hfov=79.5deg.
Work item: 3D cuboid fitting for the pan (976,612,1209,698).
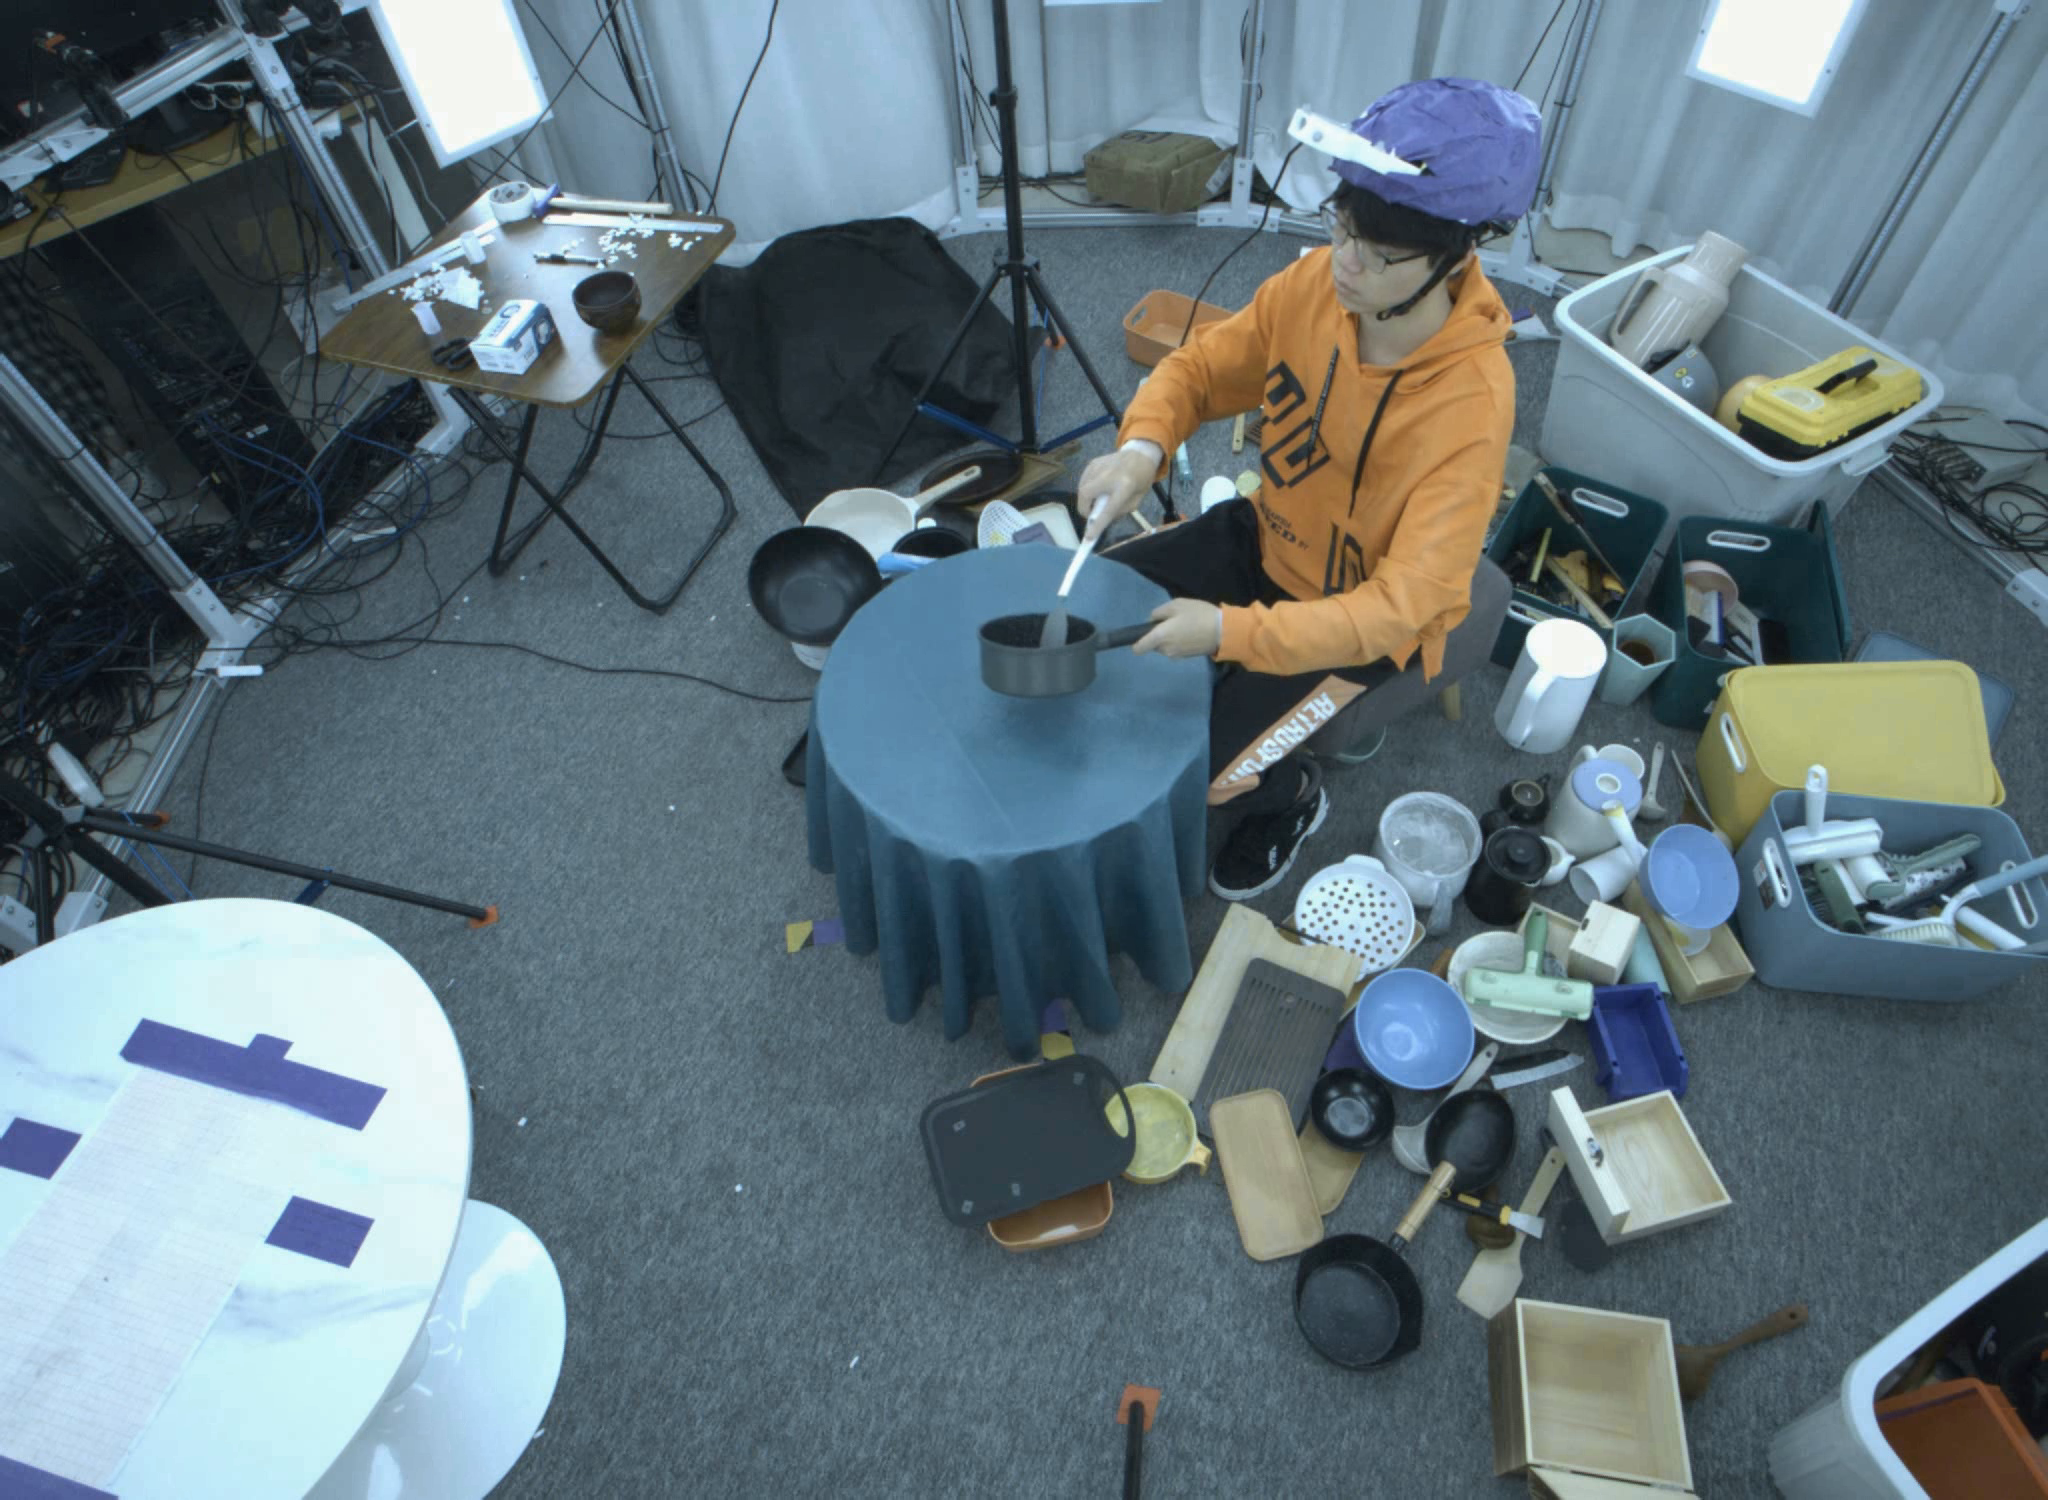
[{"bbox_3d":[0.098,-0.142,1.746,0.330,0.087,0.170,-4,25,-5],"label":"pan"}]

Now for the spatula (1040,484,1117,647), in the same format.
[{"bbox_3d":[0.073,-0.248,1.762,0.057,0.033,0.287,10,78,46],"label":"spatula"}]
